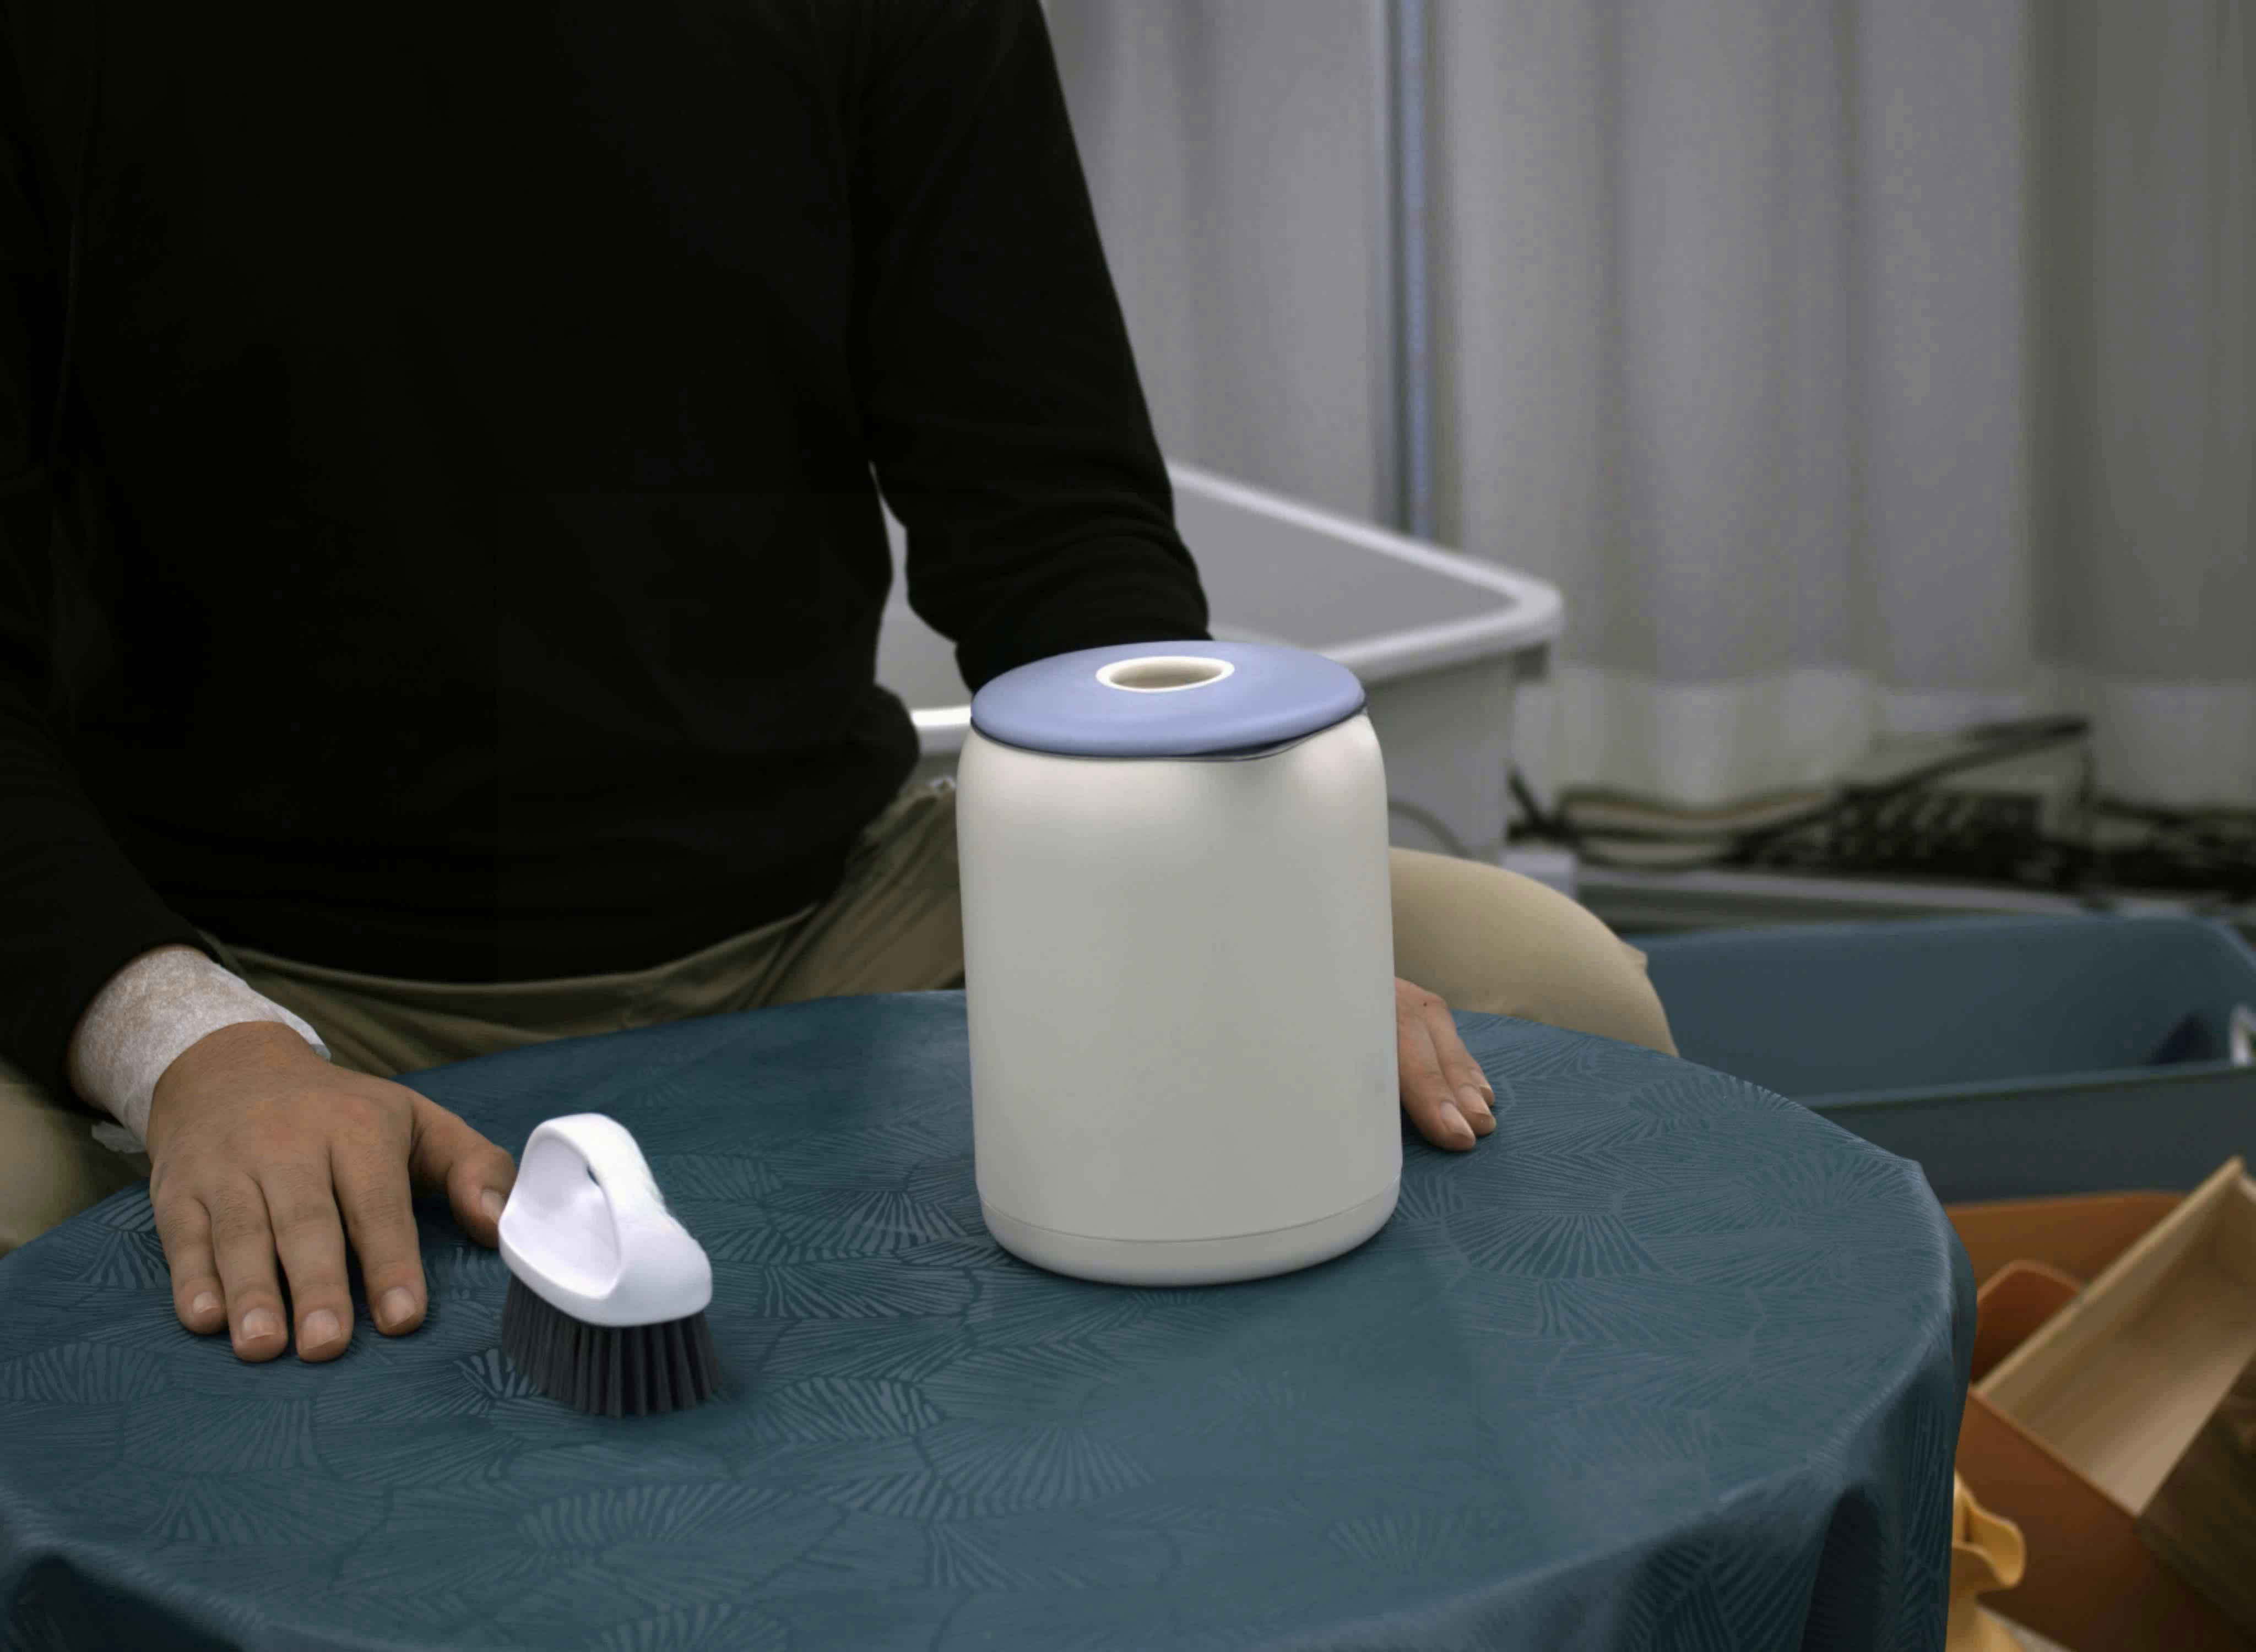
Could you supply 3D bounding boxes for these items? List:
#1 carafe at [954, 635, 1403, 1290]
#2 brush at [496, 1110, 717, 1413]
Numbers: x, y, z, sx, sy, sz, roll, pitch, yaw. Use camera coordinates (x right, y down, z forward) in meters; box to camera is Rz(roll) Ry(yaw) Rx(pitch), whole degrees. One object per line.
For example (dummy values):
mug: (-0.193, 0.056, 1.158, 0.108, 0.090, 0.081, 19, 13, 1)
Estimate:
carafe: (0.005, 0.035, 1.683, 0.131, 0.182, 0.192, -8, 14, -22)
brush: (-0.153, 0.121, 1.580, 0.050, 0.072, 0.100, -8, 15, -21)
